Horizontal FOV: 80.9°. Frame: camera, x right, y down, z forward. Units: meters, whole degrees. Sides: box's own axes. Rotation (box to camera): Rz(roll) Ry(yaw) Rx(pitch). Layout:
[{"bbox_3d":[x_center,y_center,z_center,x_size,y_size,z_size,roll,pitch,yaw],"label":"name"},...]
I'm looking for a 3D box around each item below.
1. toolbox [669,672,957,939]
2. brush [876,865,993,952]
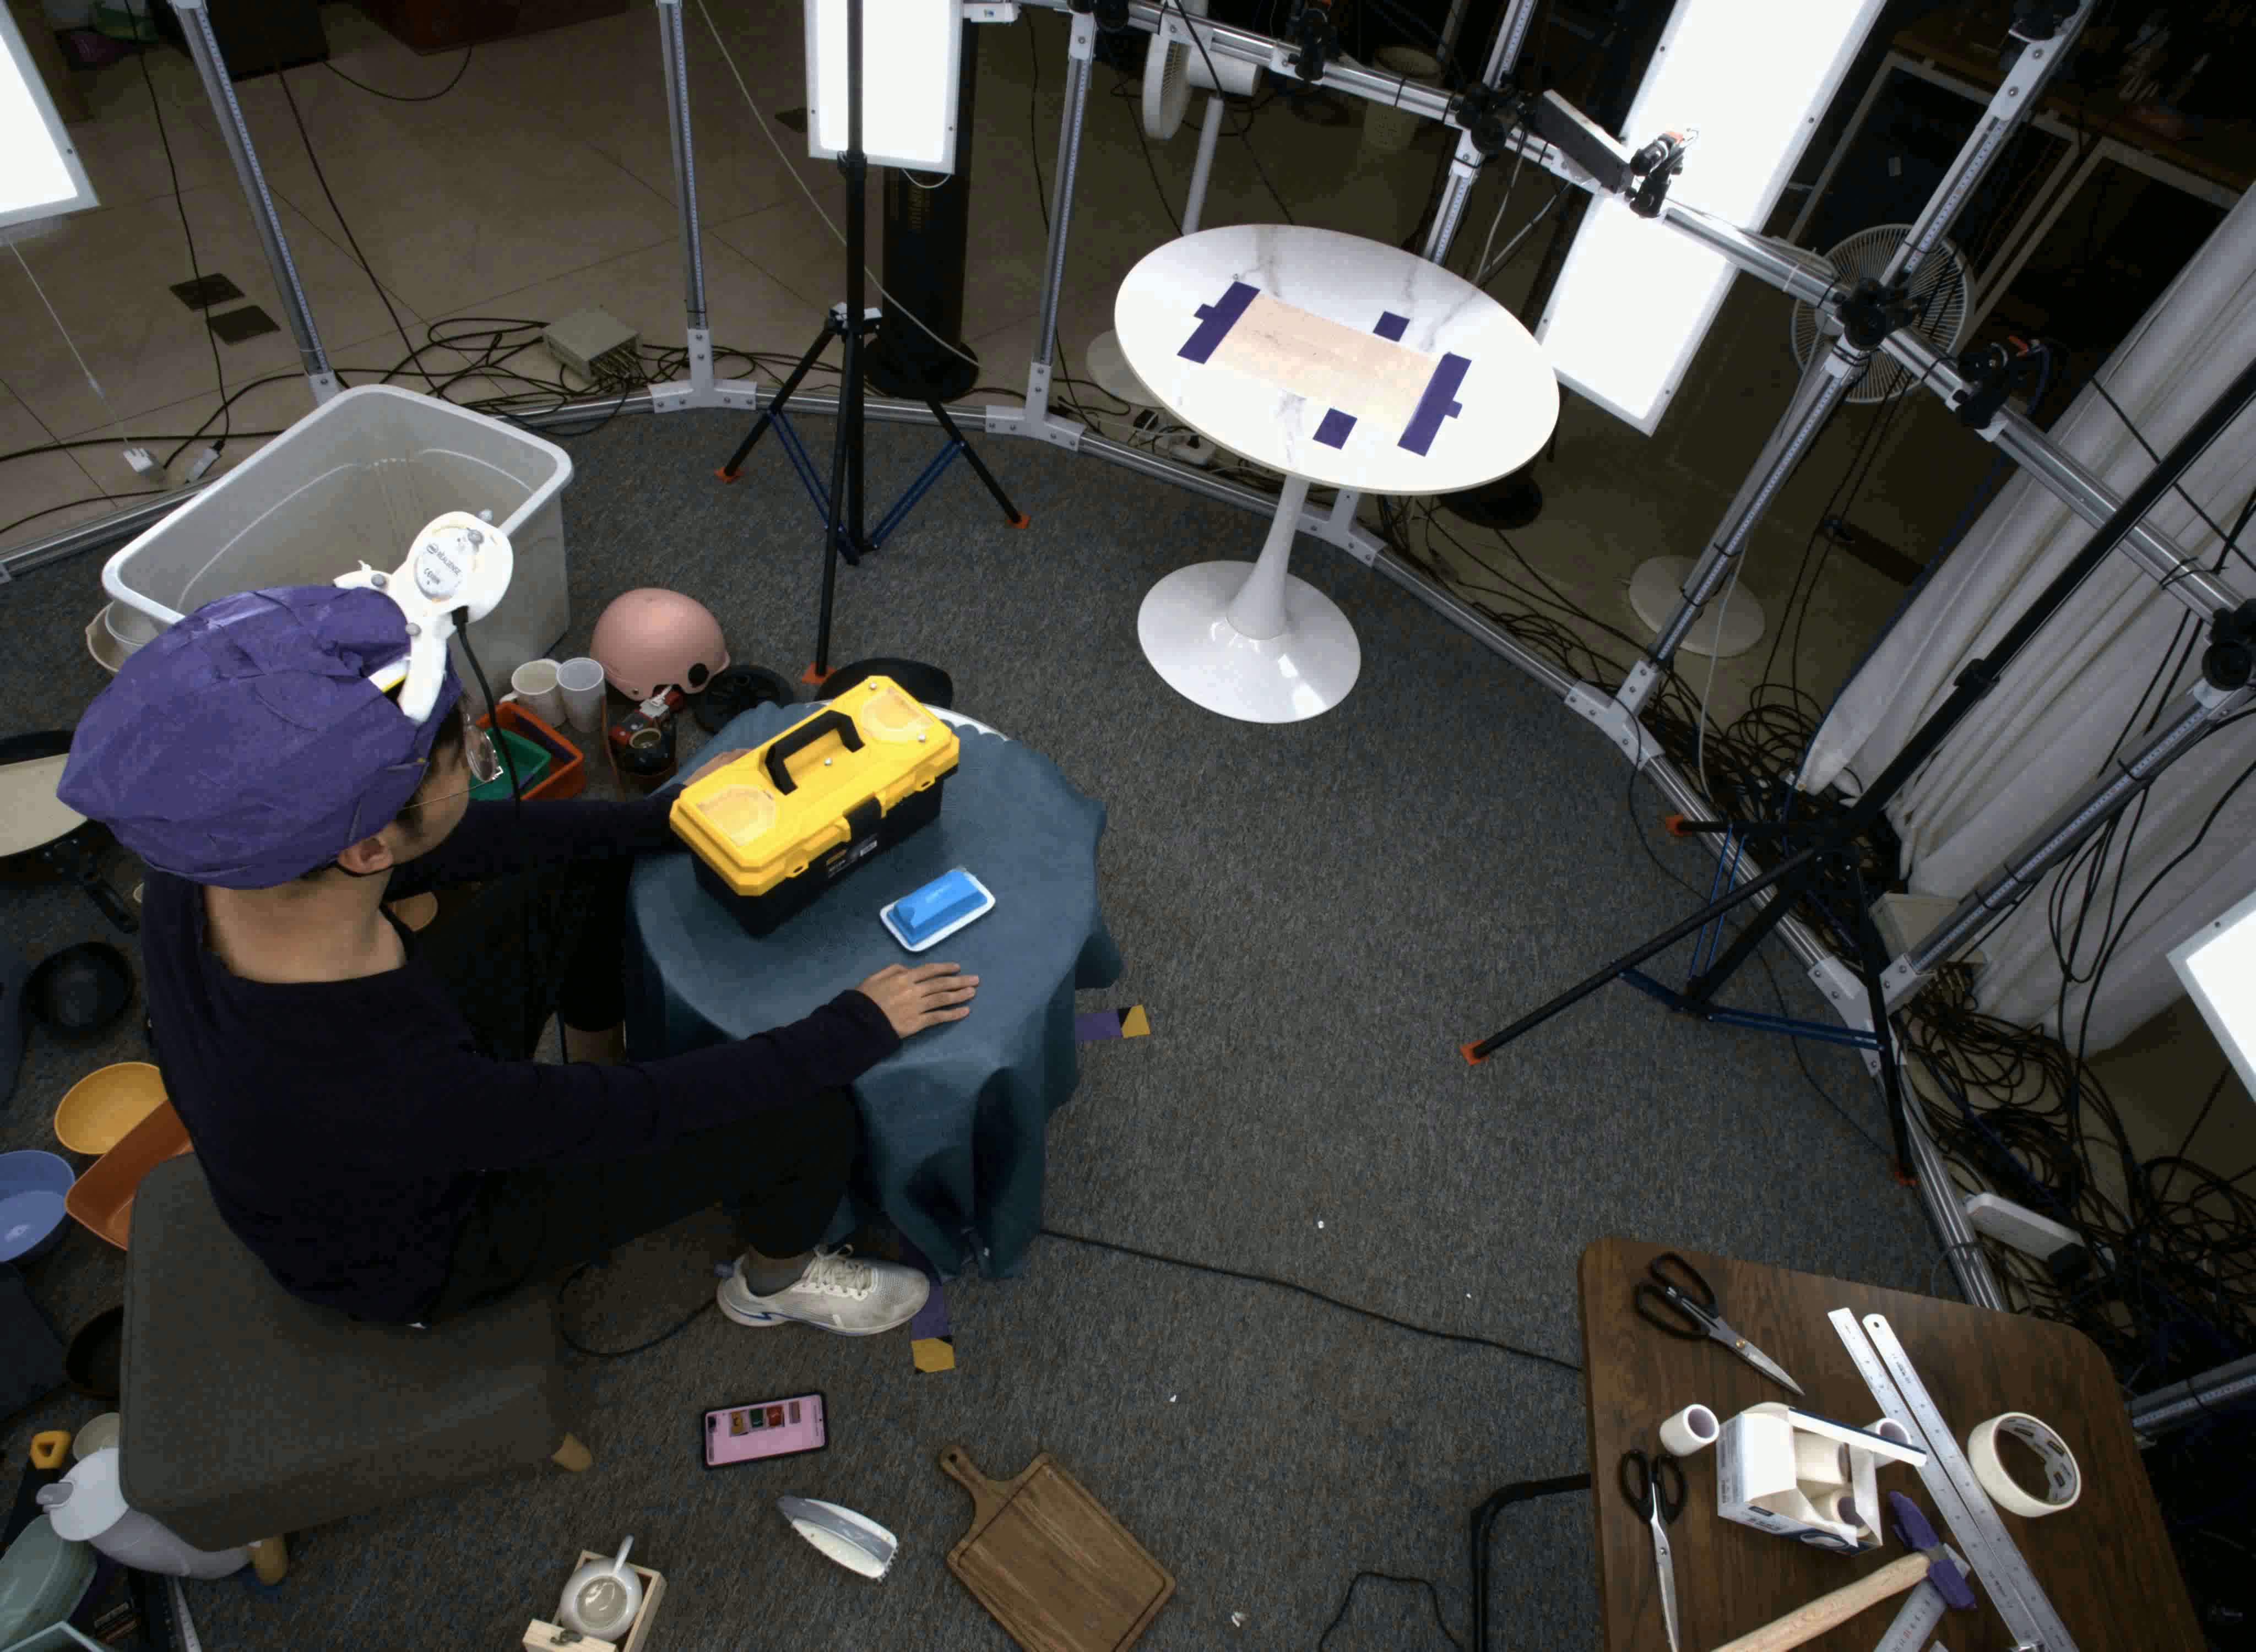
[{"bbox_3d":[-0.389,-0.027,1.642,0.177,0.176,0.352,39,55,18],"label":"toolbox"},{"bbox_3d":[-0.246,0.096,1.659,0.144,0.057,0.081,-28,60,-31],"label":"brush"}]
